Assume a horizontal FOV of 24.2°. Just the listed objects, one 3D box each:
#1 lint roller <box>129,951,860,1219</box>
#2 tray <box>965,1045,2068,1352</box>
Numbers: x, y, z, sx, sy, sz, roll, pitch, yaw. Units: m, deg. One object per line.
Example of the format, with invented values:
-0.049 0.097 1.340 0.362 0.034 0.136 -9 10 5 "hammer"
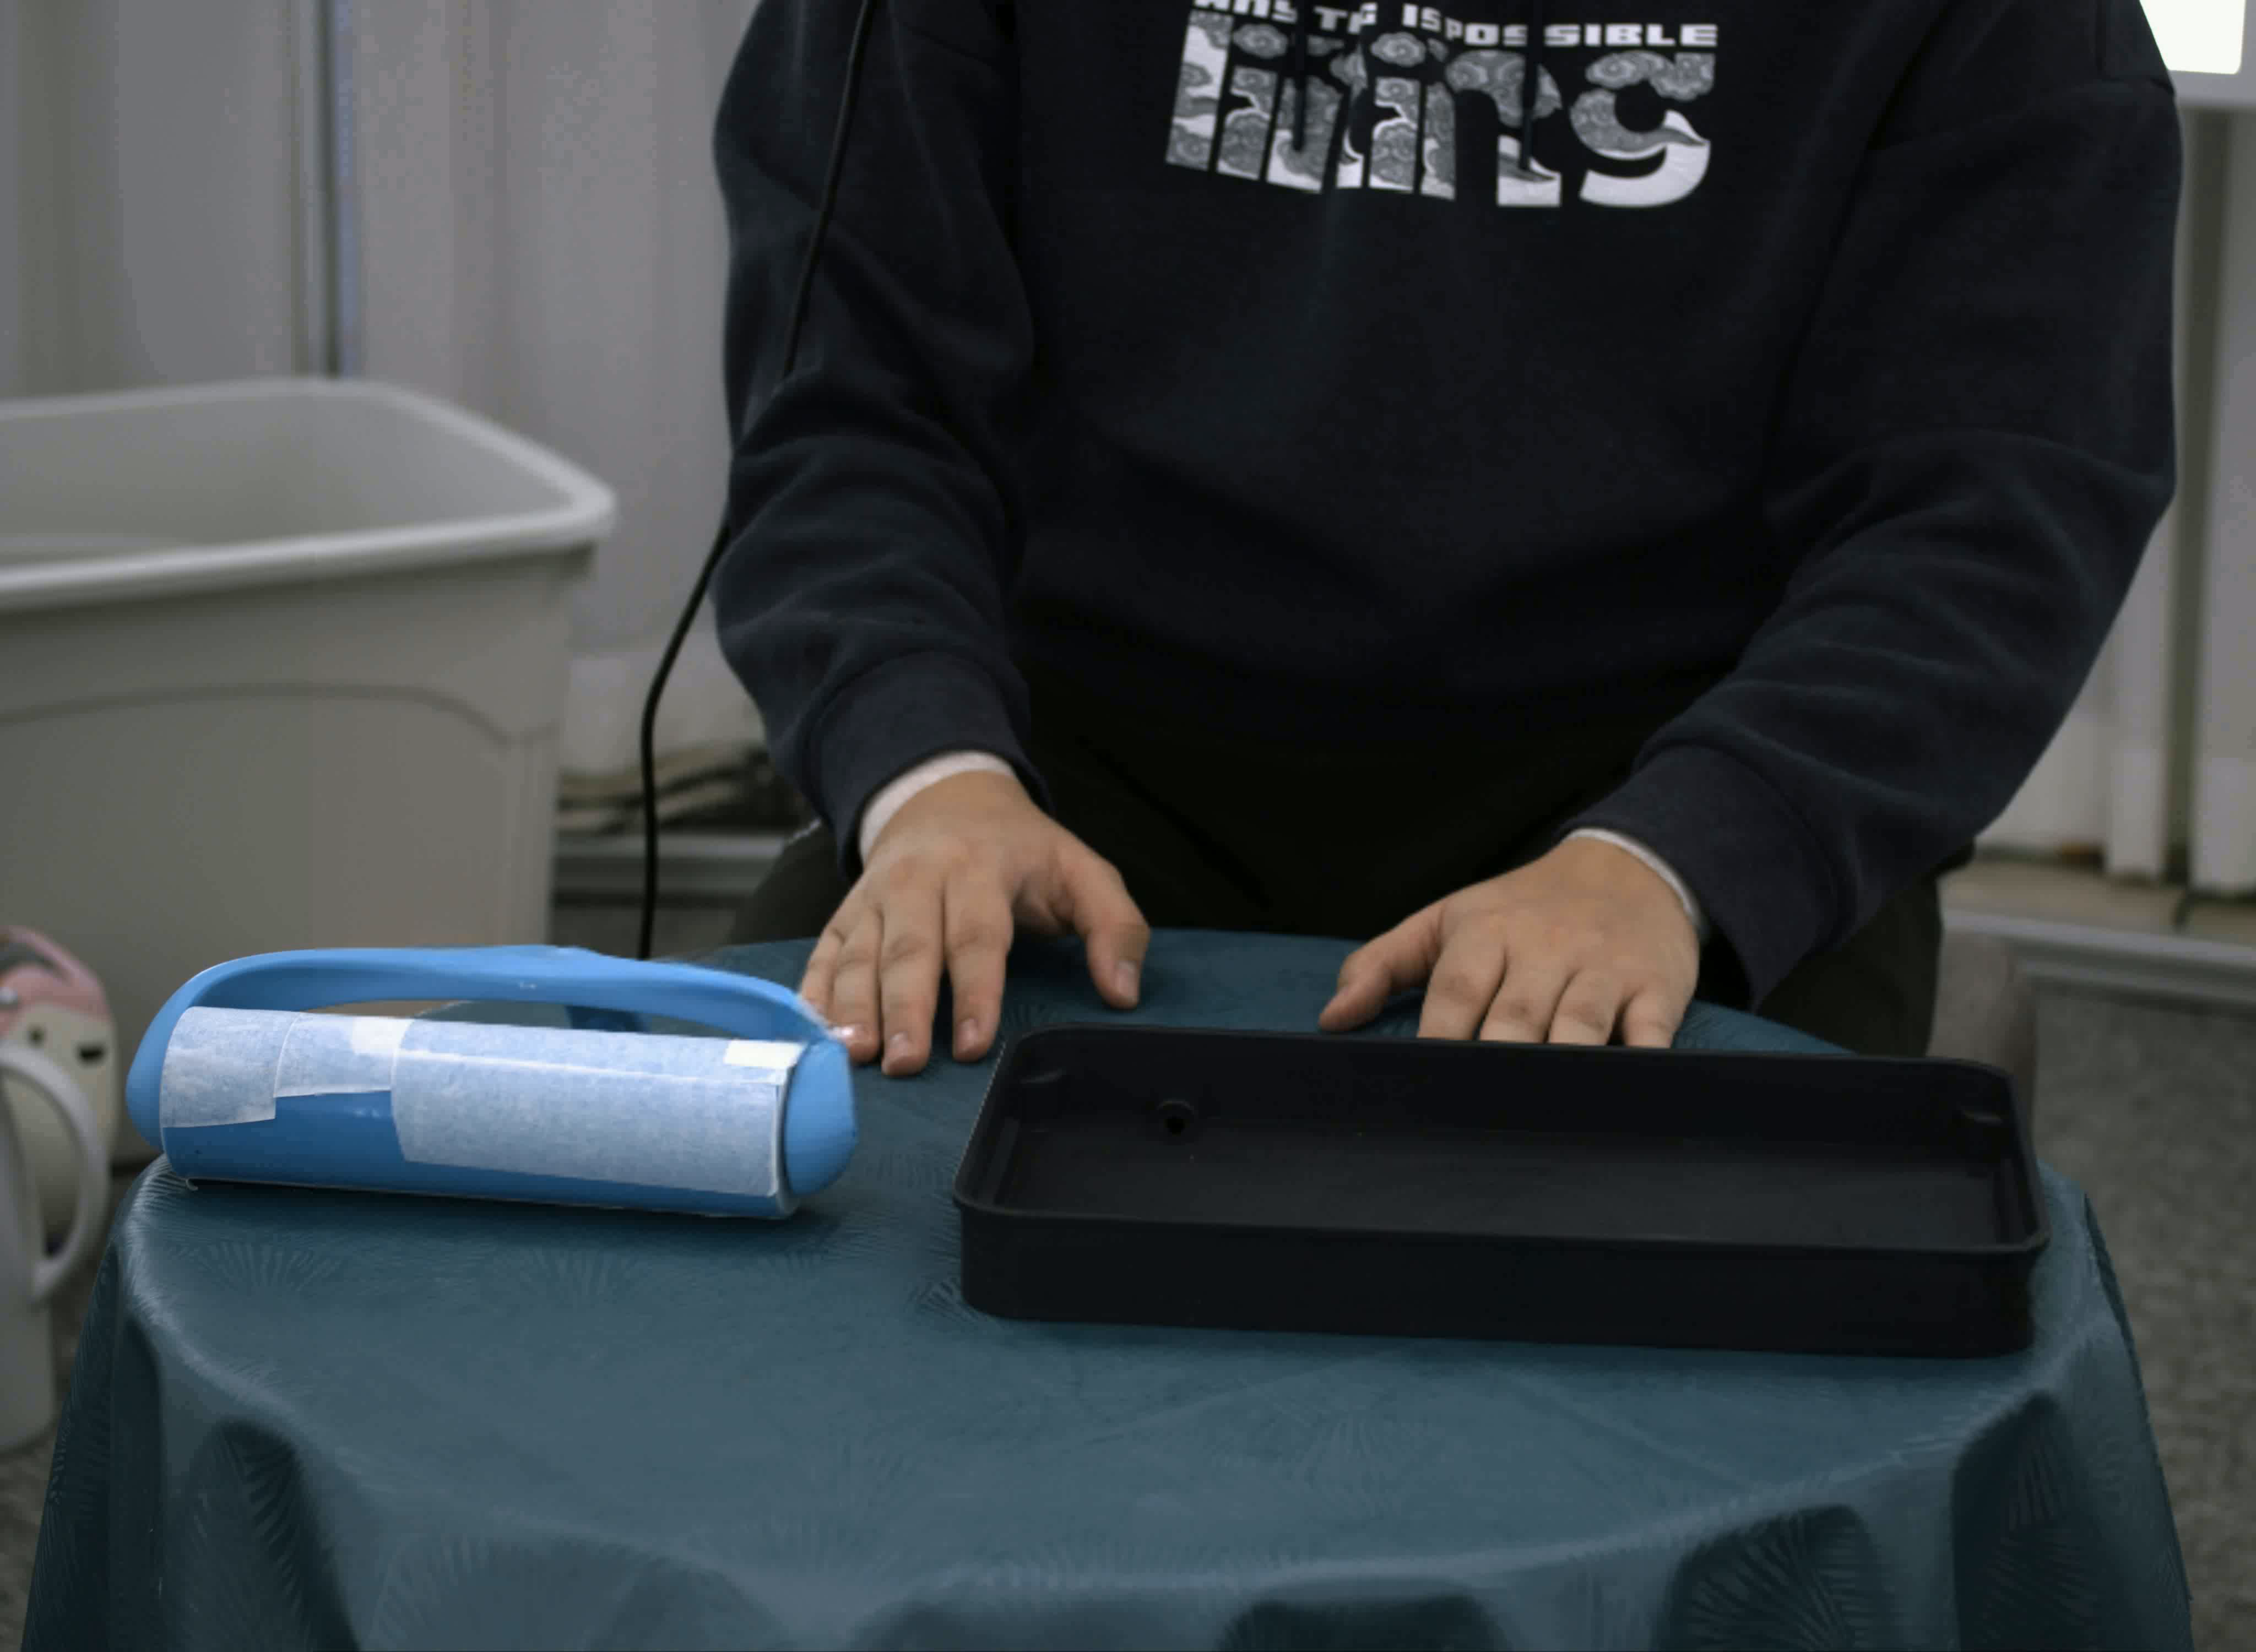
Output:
-0.185 0.070 1.660 0.227 0.068 0.179 1 17 8 "lint roller"
0.117 0.110 1.586 0.316 0.037 0.183 -1 15 4 "tray"
